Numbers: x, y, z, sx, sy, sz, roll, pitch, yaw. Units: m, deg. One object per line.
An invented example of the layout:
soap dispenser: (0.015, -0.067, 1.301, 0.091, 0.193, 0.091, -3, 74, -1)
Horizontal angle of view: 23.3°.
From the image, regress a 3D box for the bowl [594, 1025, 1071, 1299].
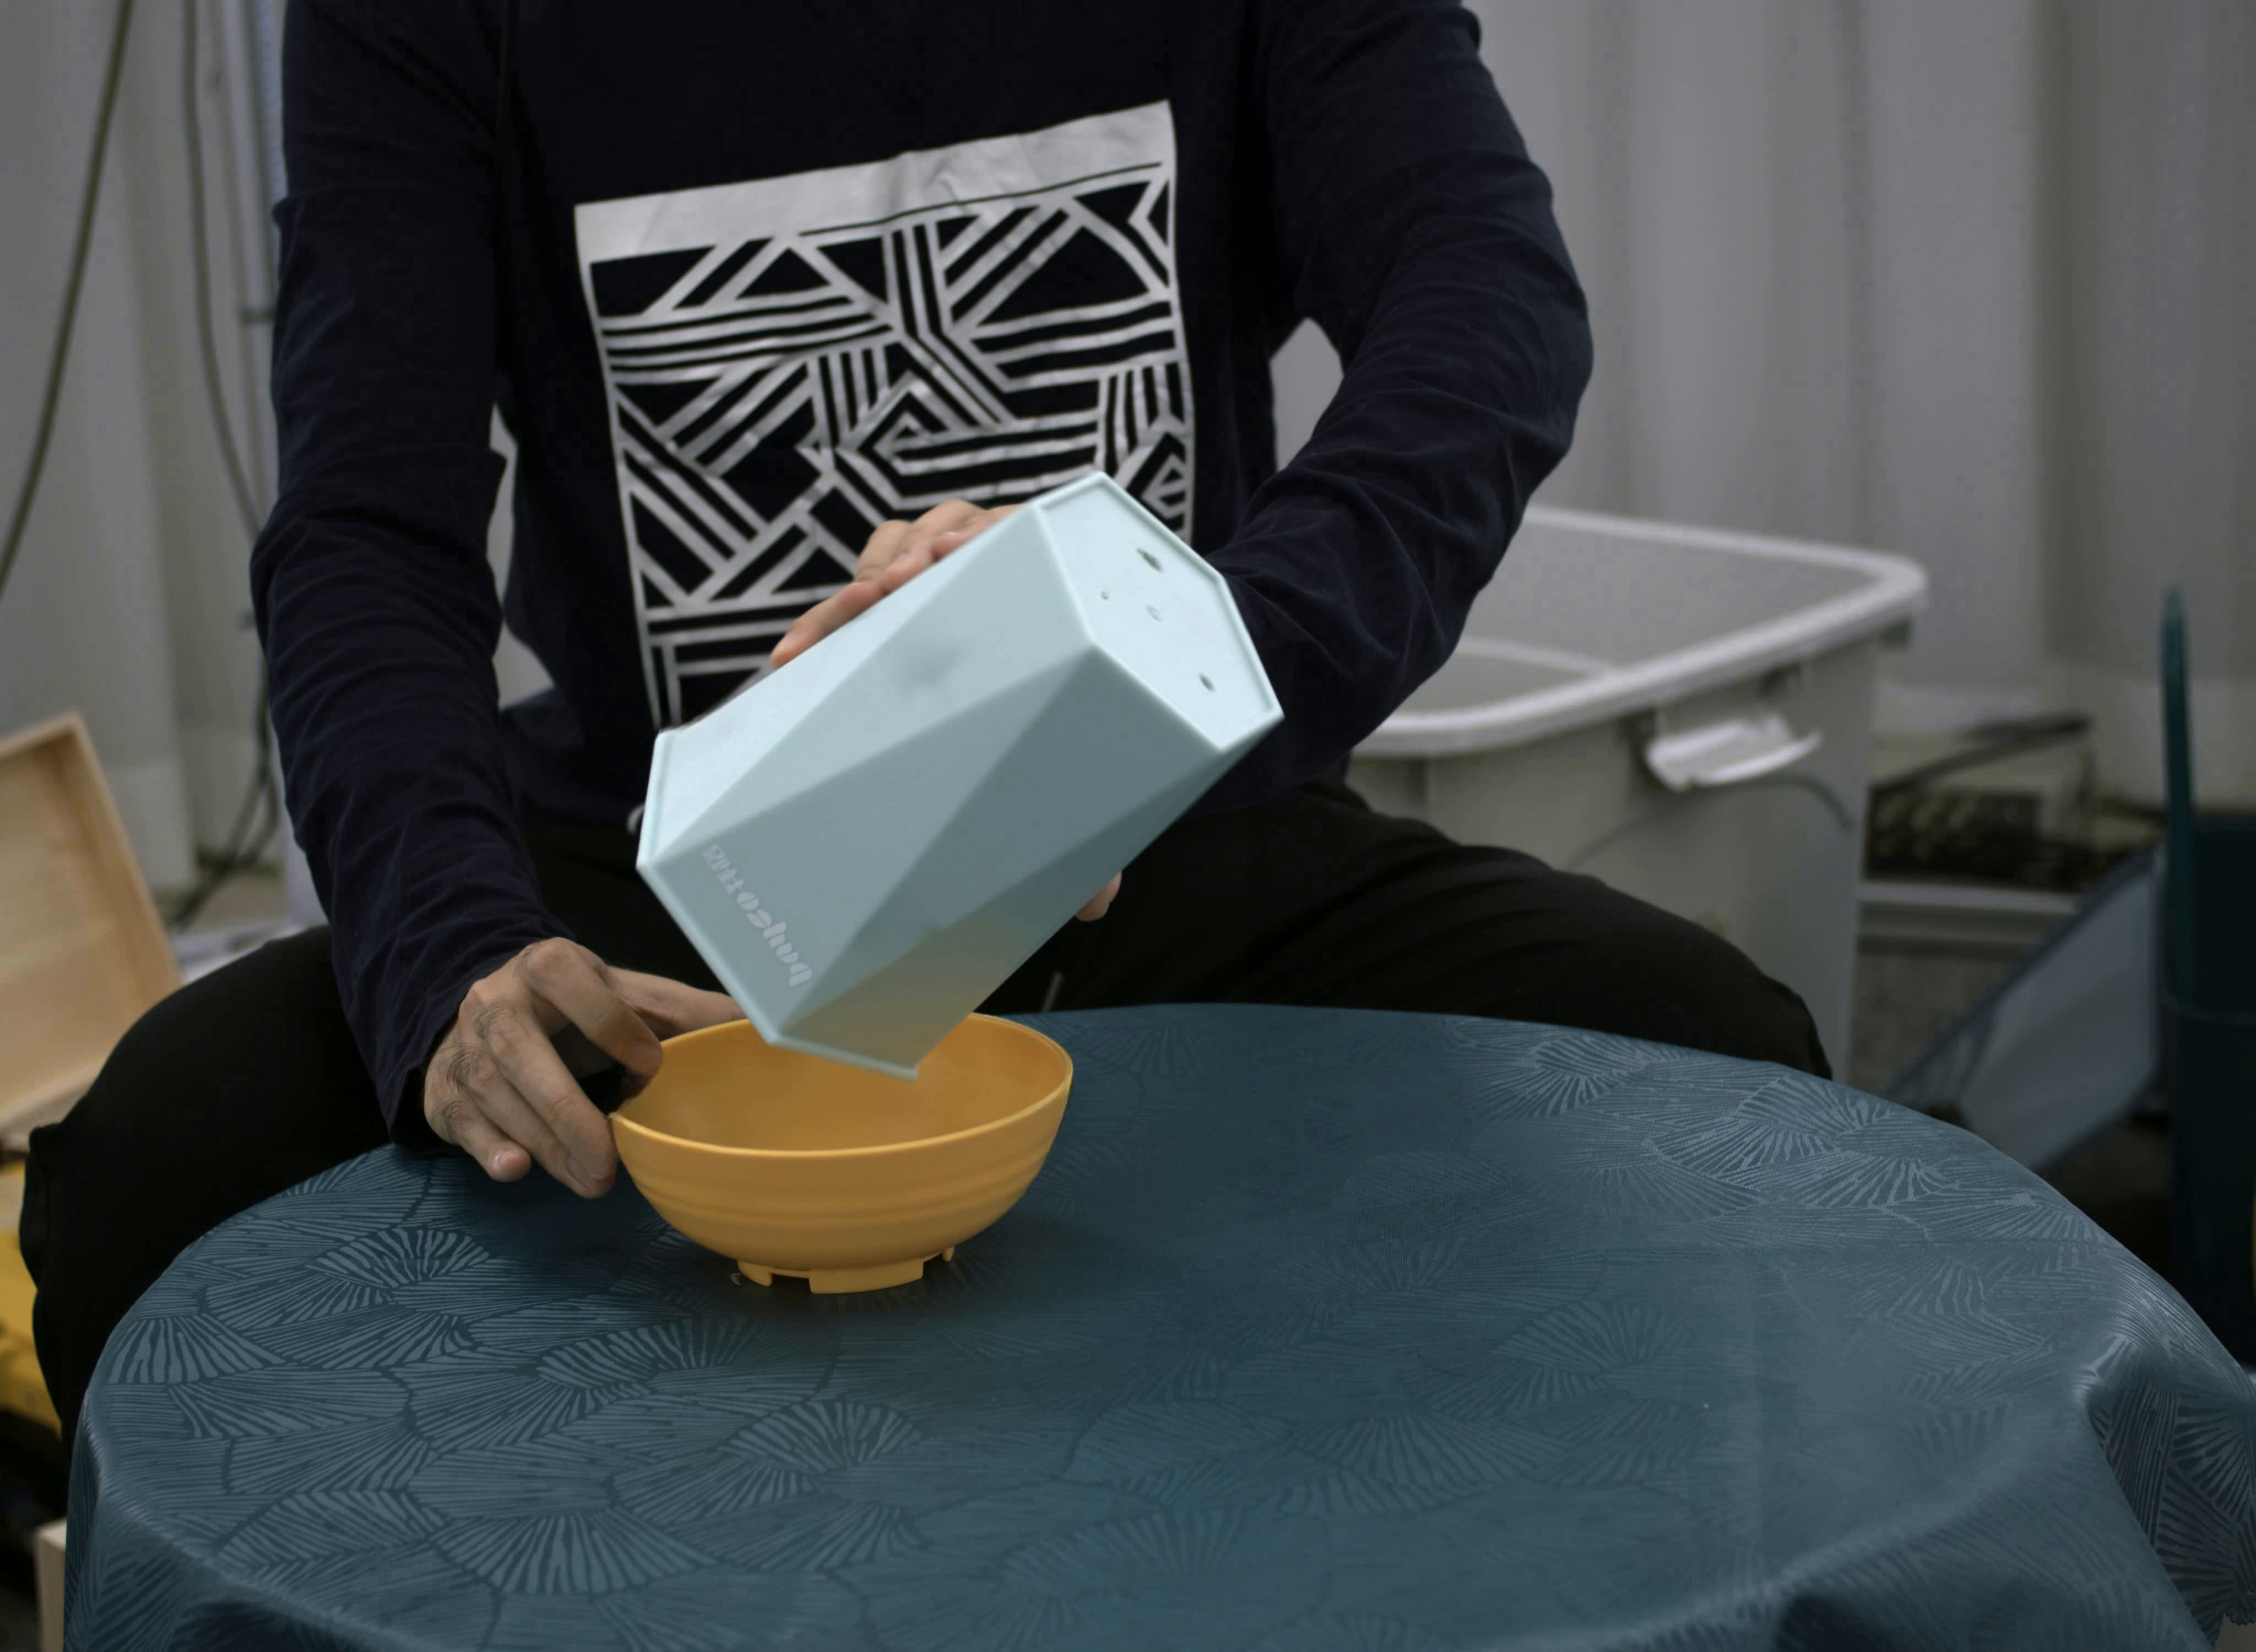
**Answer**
bowl: (-0.089, 0.106, 1.662, 0.145, 0.060, 0.146, -1, 13, 0)

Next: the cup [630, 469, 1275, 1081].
cup: (-0.050, -0.020, 1.625, 0.162, 0.131, 0.115, -39, -6, 26)
